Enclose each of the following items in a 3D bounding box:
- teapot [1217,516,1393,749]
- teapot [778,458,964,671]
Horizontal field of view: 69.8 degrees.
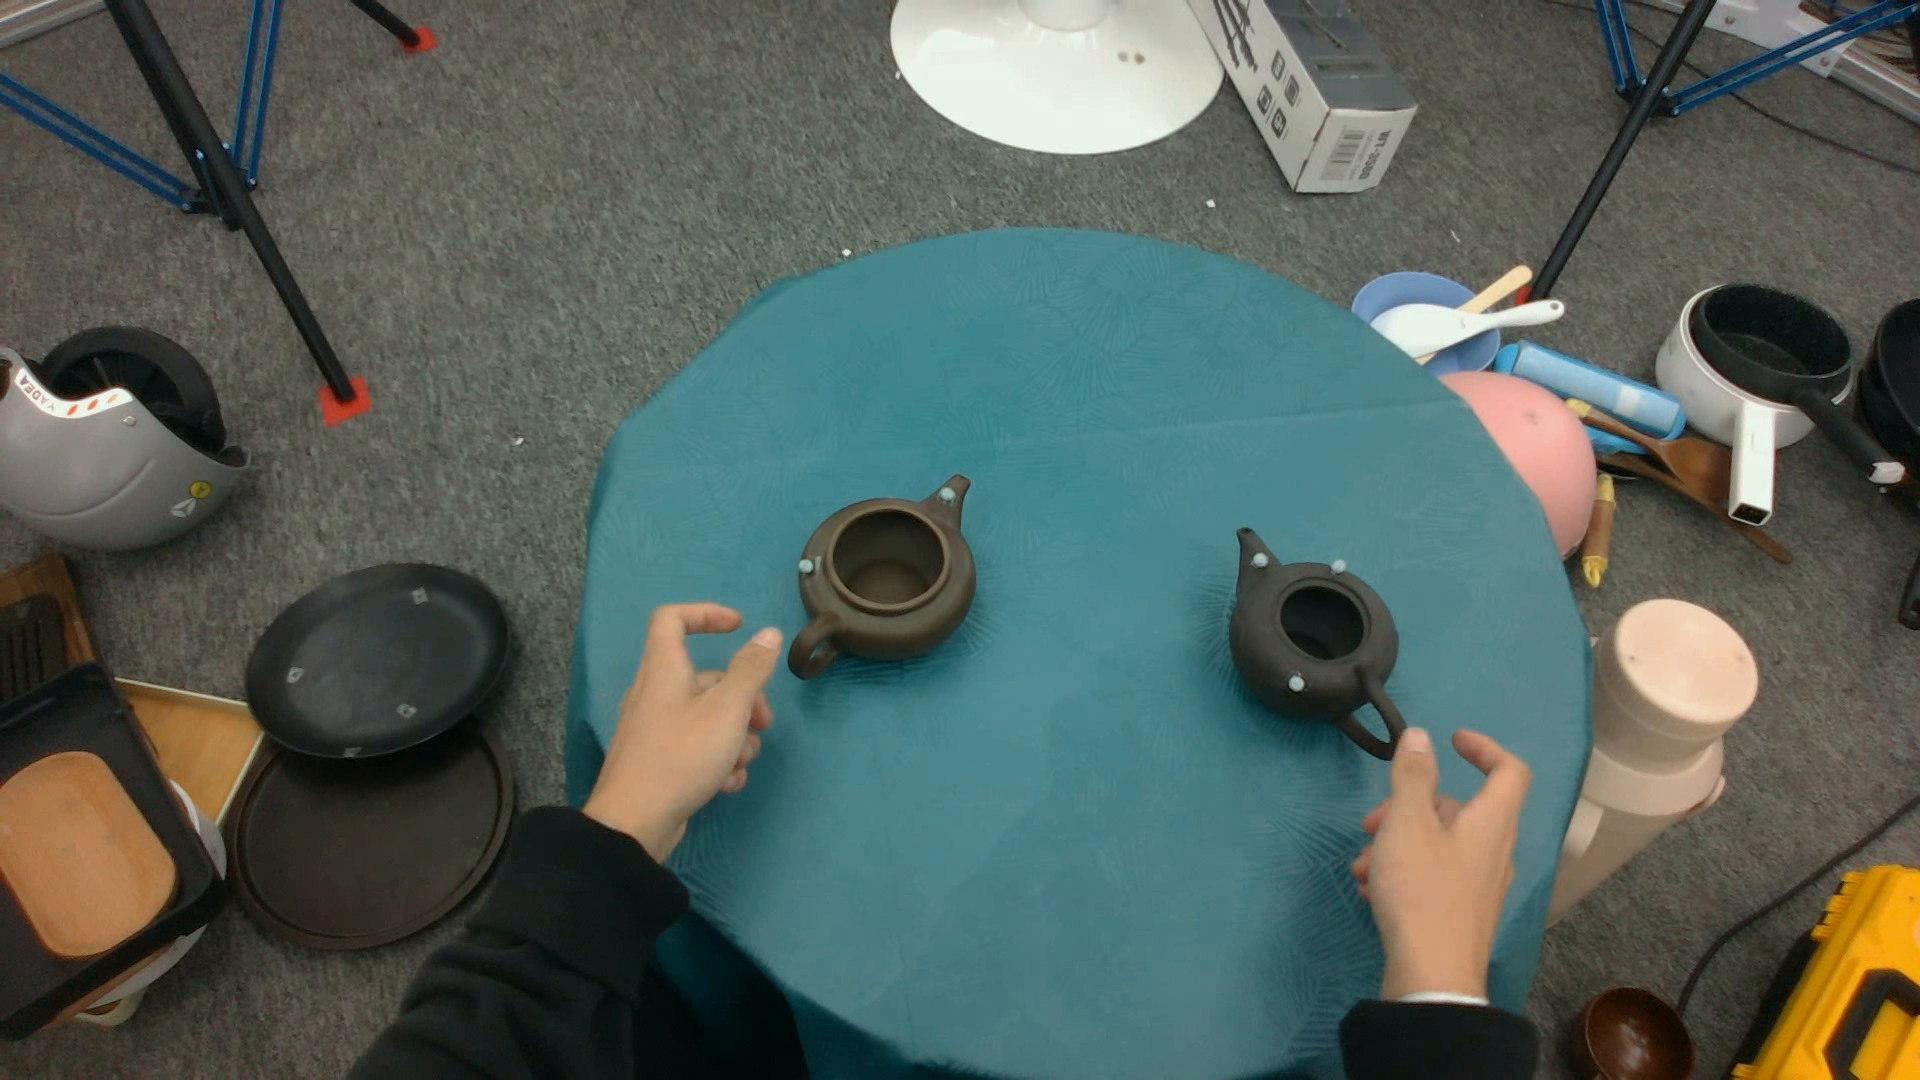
[{"bbox_3d":[0.193,0.053,0.777,0.092,0.064,0.154,-23,61,-17],"label":"teapot"},{"bbox_3d":[-0.051,0.016,0.784,0.102,0.053,0.154,28,57,16],"label":"teapot"}]
